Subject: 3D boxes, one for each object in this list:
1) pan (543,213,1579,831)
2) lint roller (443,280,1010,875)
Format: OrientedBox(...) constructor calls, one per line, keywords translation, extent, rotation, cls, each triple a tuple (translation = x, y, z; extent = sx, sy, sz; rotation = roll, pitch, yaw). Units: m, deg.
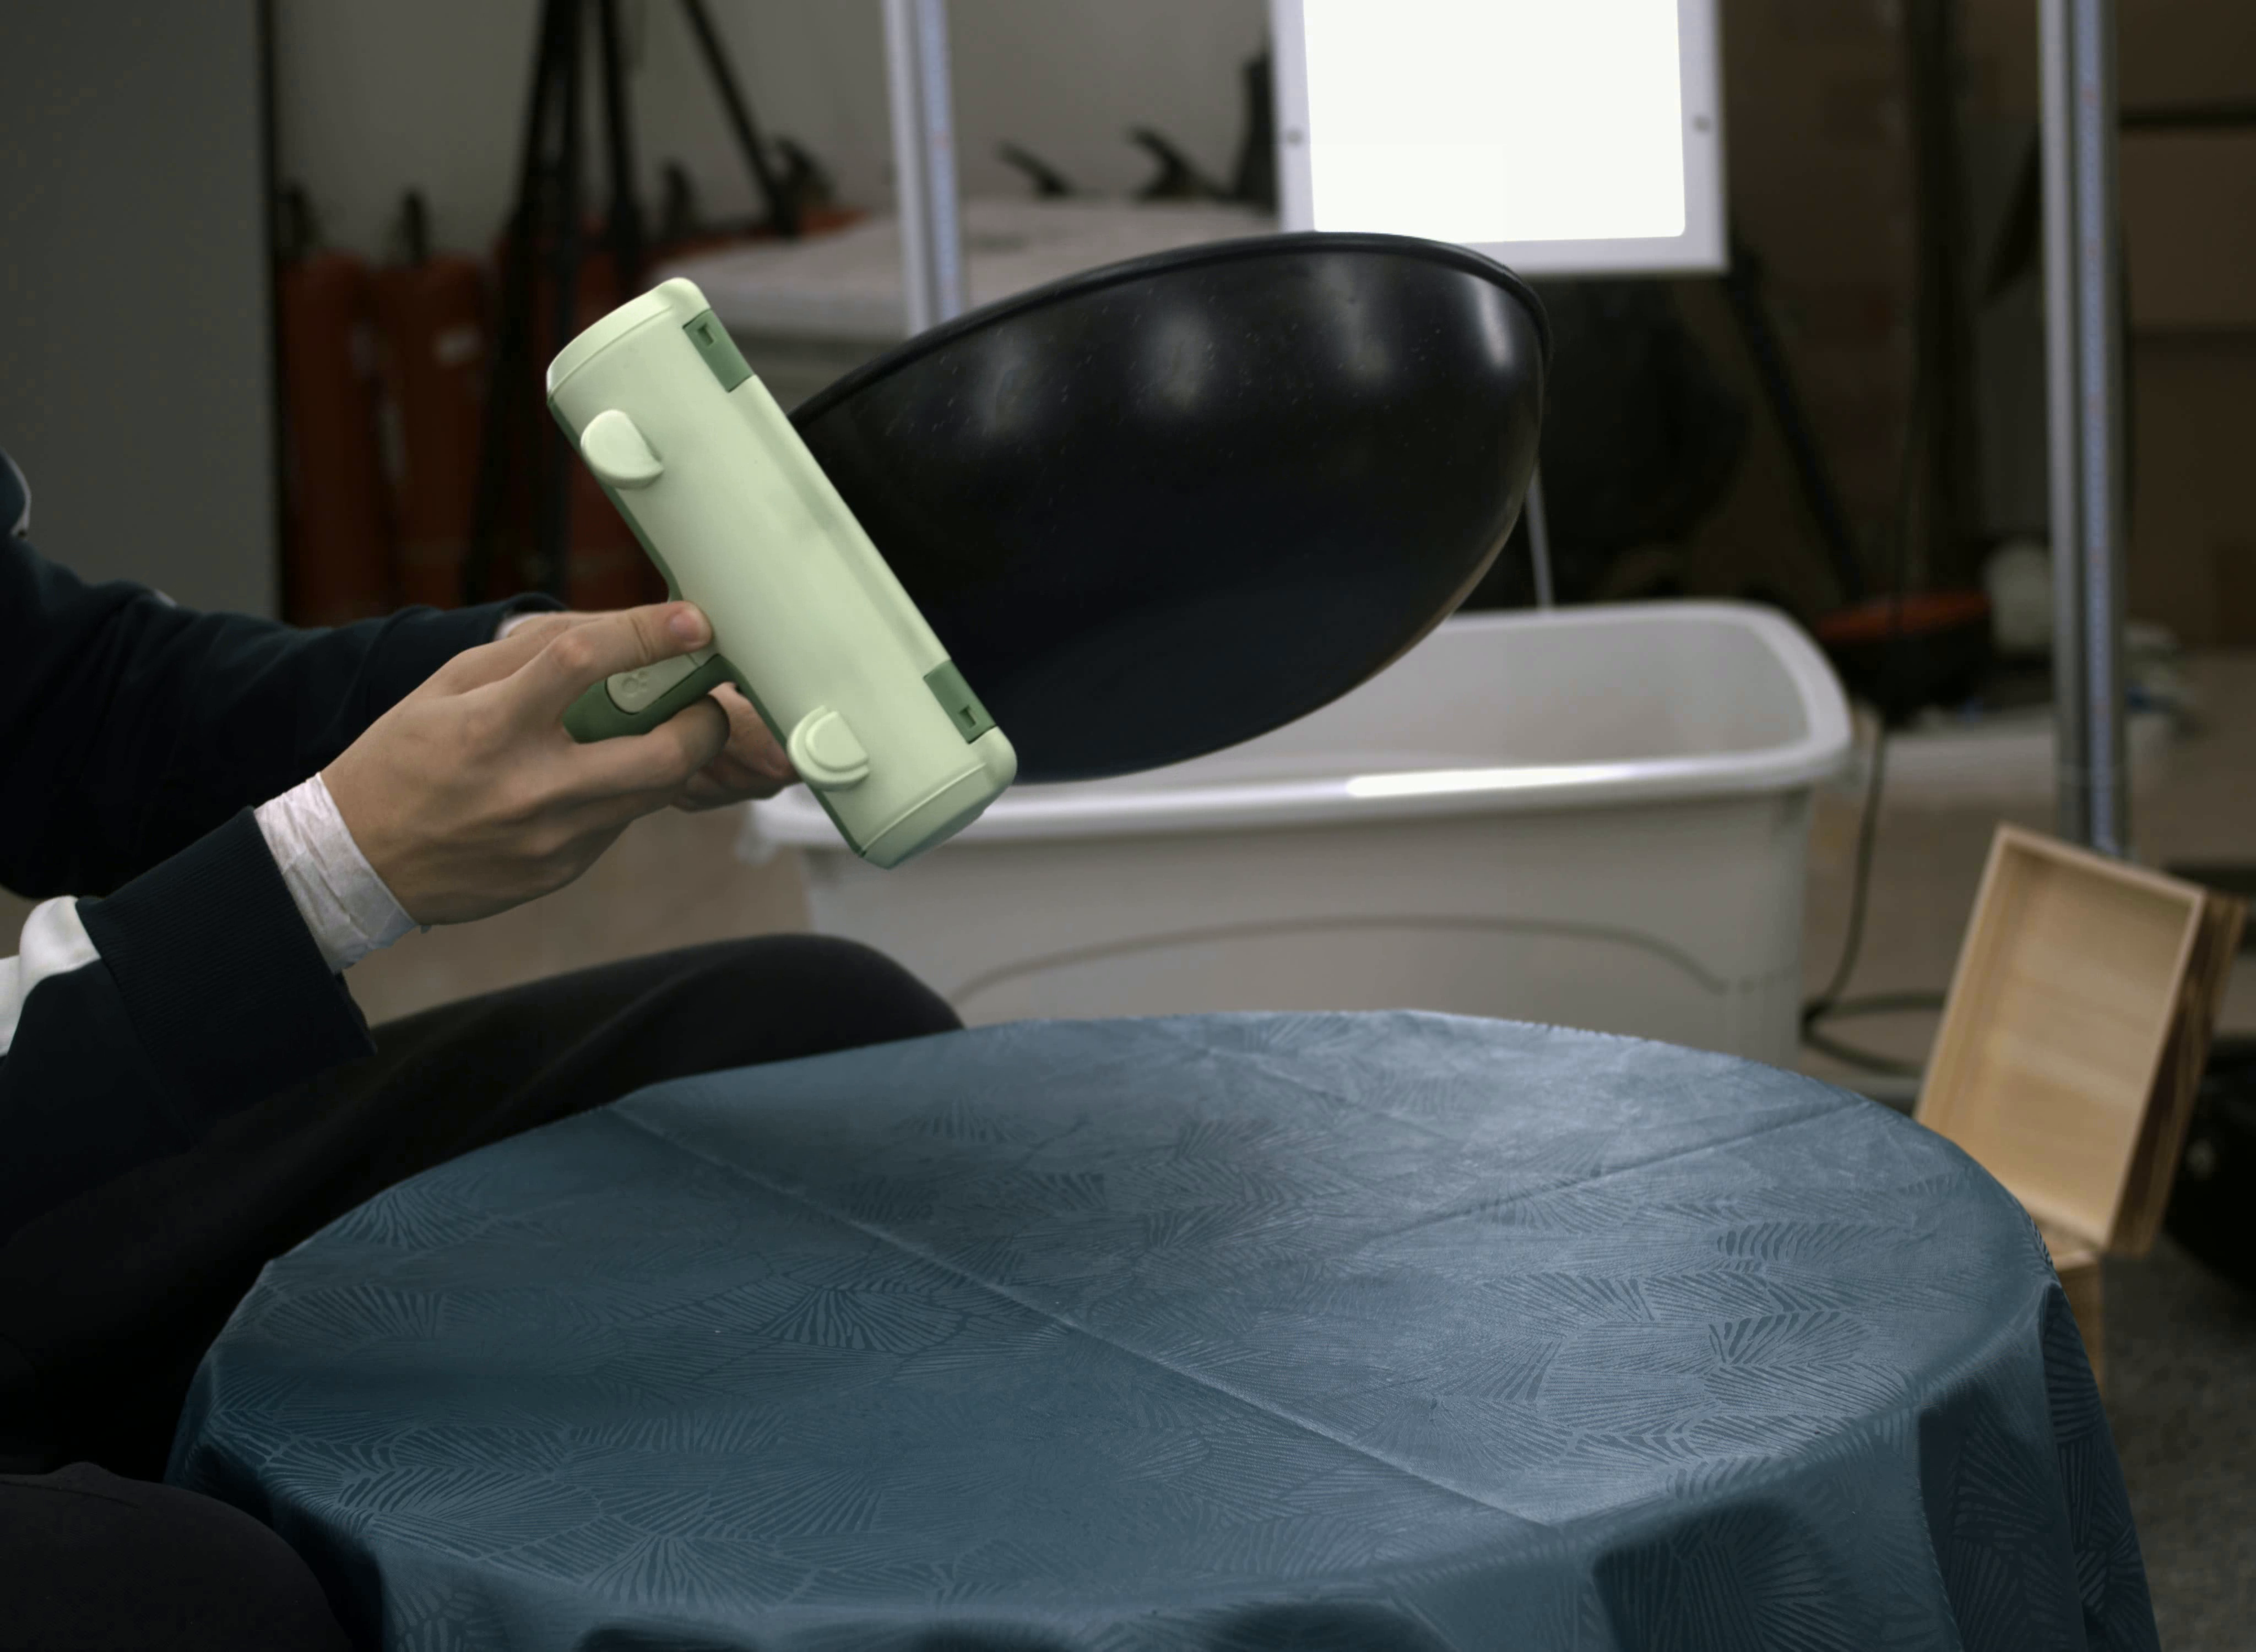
OrientedBox(translation=(-0.045, -0.063, 1.909), extent=(0.302, 0.112, 0.487), rotation=(8, -30, -44), cls="pan")
OrientedBox(translation=(-0.159, -0.045, 1.763), extent=(0.185, 0.199, 0.081), rotation=(-36, -5, 17), cls="lint roller")
